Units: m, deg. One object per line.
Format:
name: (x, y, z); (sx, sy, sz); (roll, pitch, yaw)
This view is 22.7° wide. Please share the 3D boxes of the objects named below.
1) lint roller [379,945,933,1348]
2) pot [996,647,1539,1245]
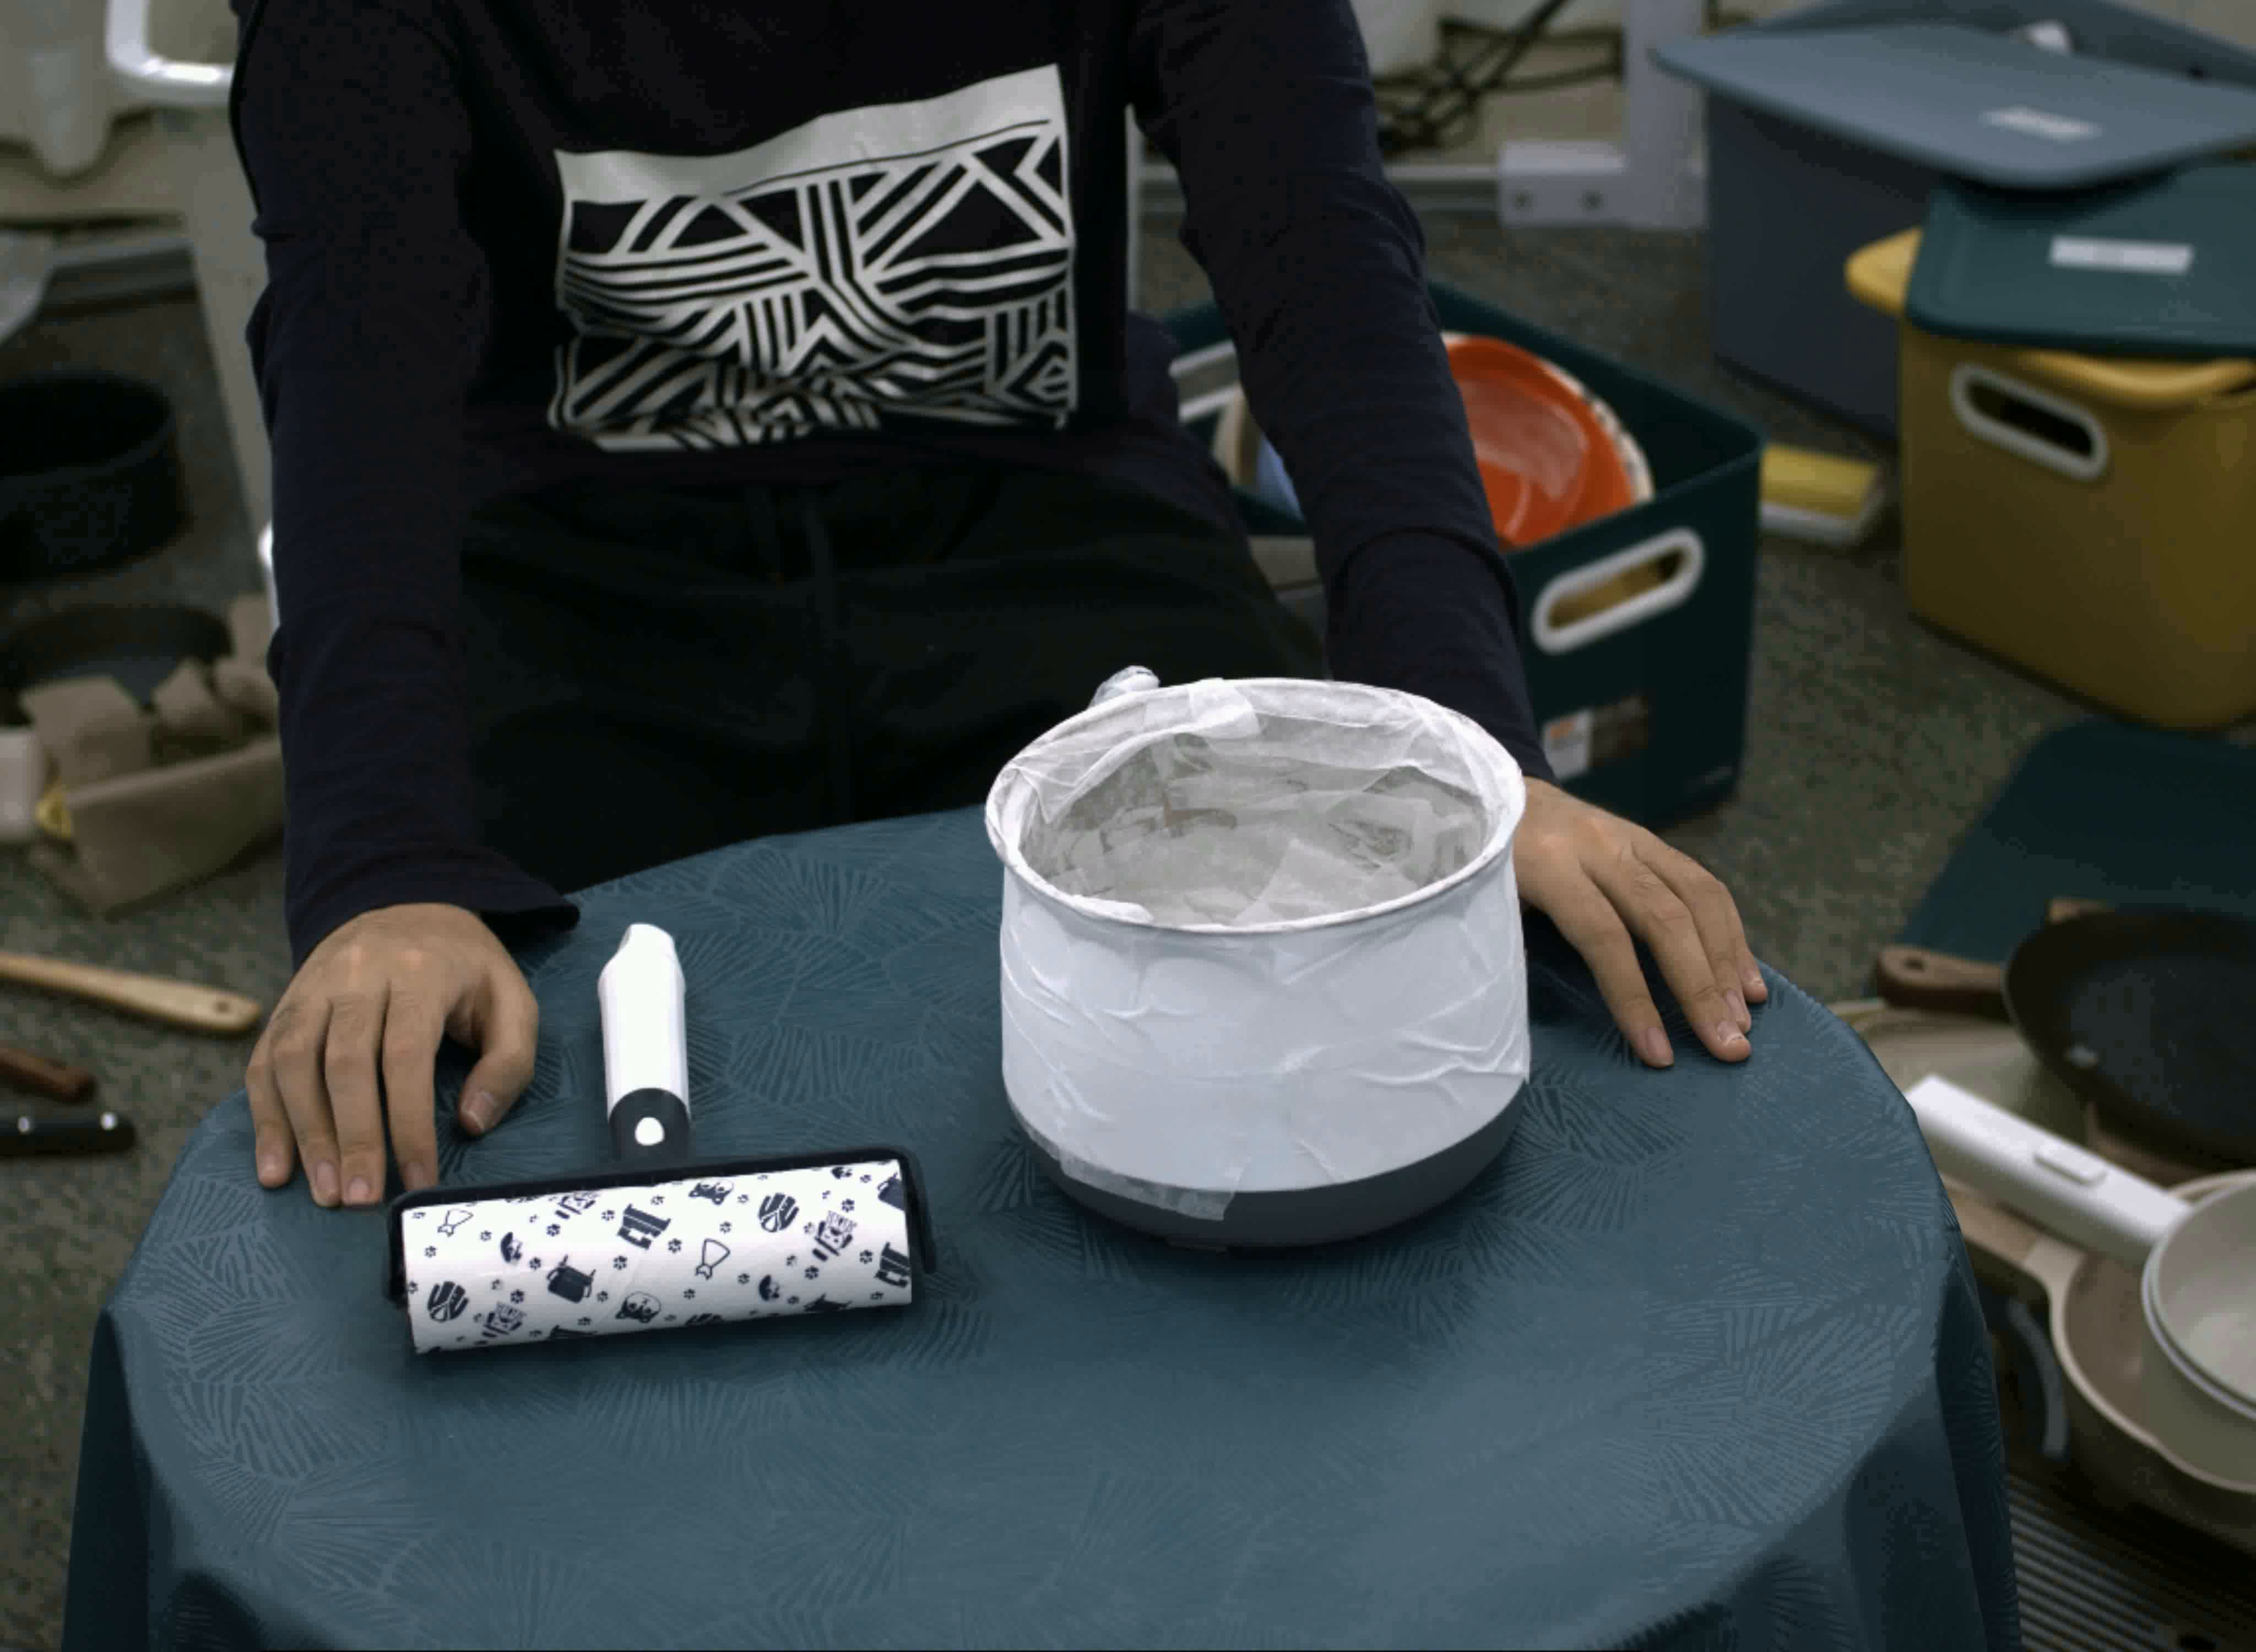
lint roller: (-0.163, 0.094, 1.885); (0.176, 0.050, 0.250); (-7, 25, -5)
pot: (0.033, 0.032, 1.875); (0.179, 0.135, 0.235); (-11, 30, -22)
